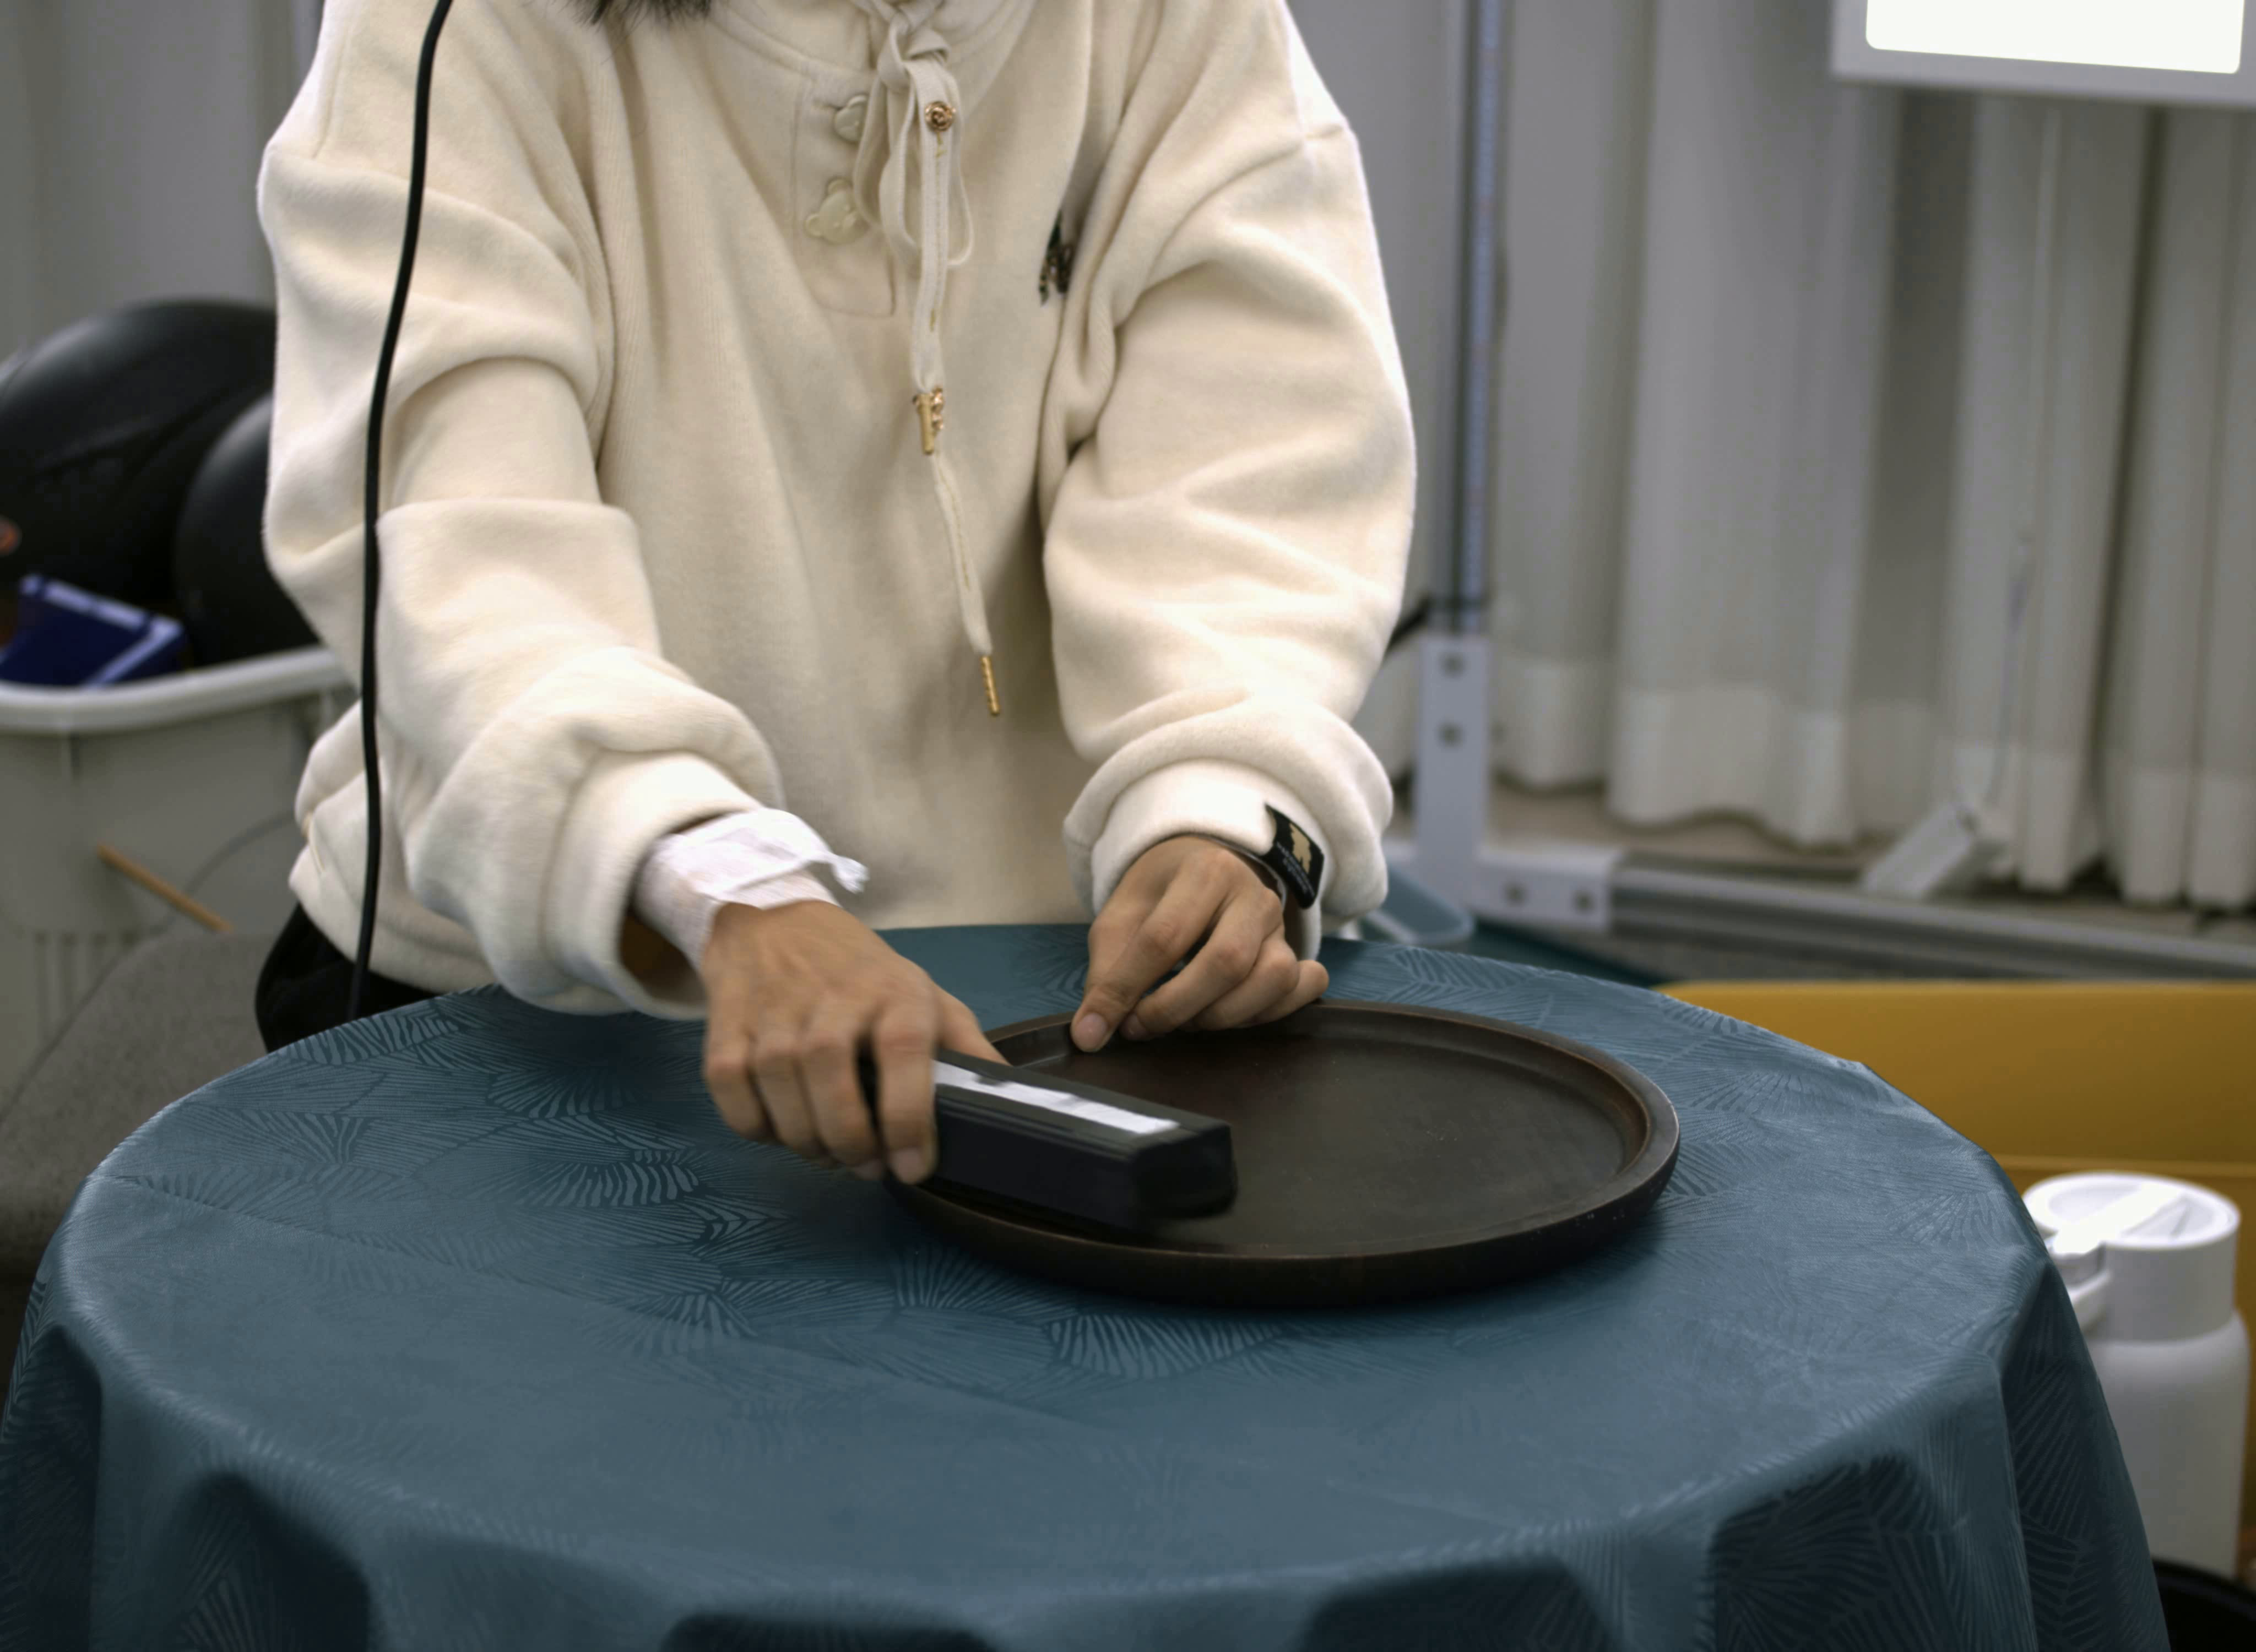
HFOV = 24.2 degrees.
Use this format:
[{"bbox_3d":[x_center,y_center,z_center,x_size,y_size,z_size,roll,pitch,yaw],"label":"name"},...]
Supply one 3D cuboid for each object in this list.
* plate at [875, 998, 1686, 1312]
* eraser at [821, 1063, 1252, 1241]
[{"bbox_3d":[0.045,0.098,1.627,0.254,0.029,0.253,1,17,0],"label":"plate"},{"bbox_3d":[-0.028,0.095,1.557,0.124,0.030,0.054,11,10,35],"label":"eraser"}]
